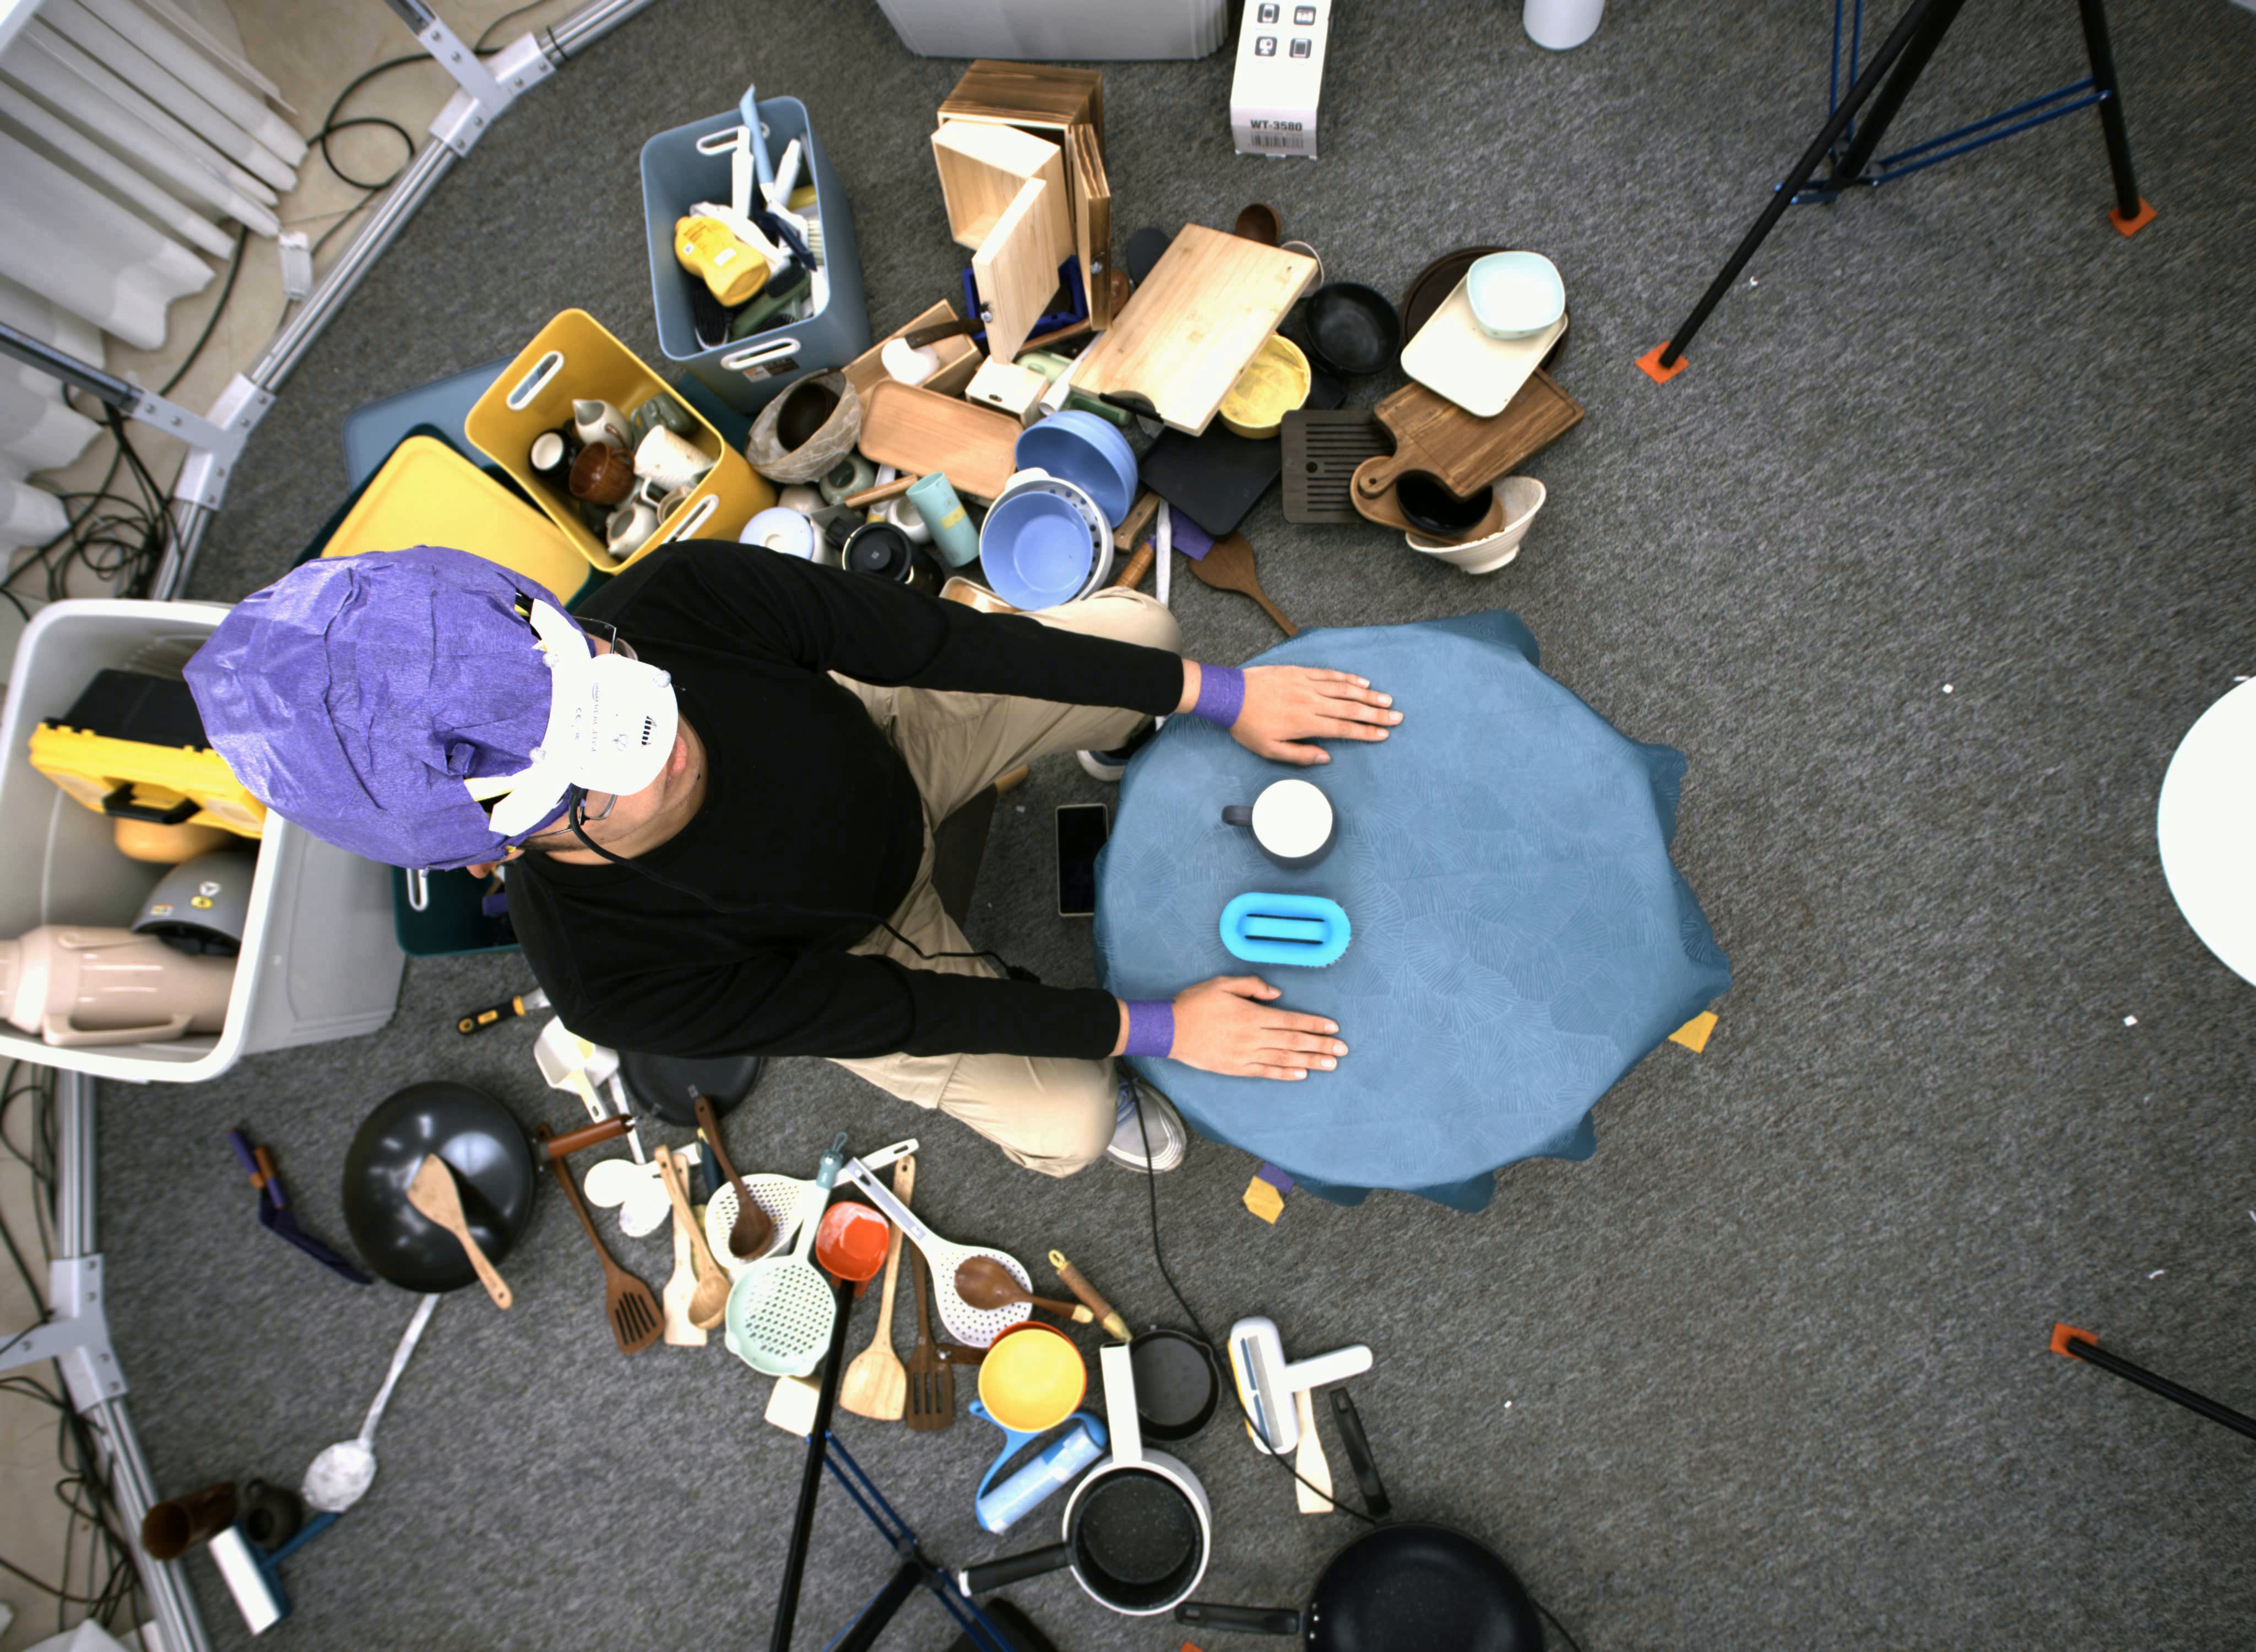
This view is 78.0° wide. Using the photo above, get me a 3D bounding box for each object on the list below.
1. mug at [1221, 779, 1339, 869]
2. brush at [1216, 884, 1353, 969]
[{"bbox_3d":[0.157,-0.007,1.436,0.123,0.090,0.093,9,86,9],"label":"mug"},{"bbox_3d":[0.162,0.104,1.444,0.142,0.063,0.084,5,91,12],"label":"brush"}]
